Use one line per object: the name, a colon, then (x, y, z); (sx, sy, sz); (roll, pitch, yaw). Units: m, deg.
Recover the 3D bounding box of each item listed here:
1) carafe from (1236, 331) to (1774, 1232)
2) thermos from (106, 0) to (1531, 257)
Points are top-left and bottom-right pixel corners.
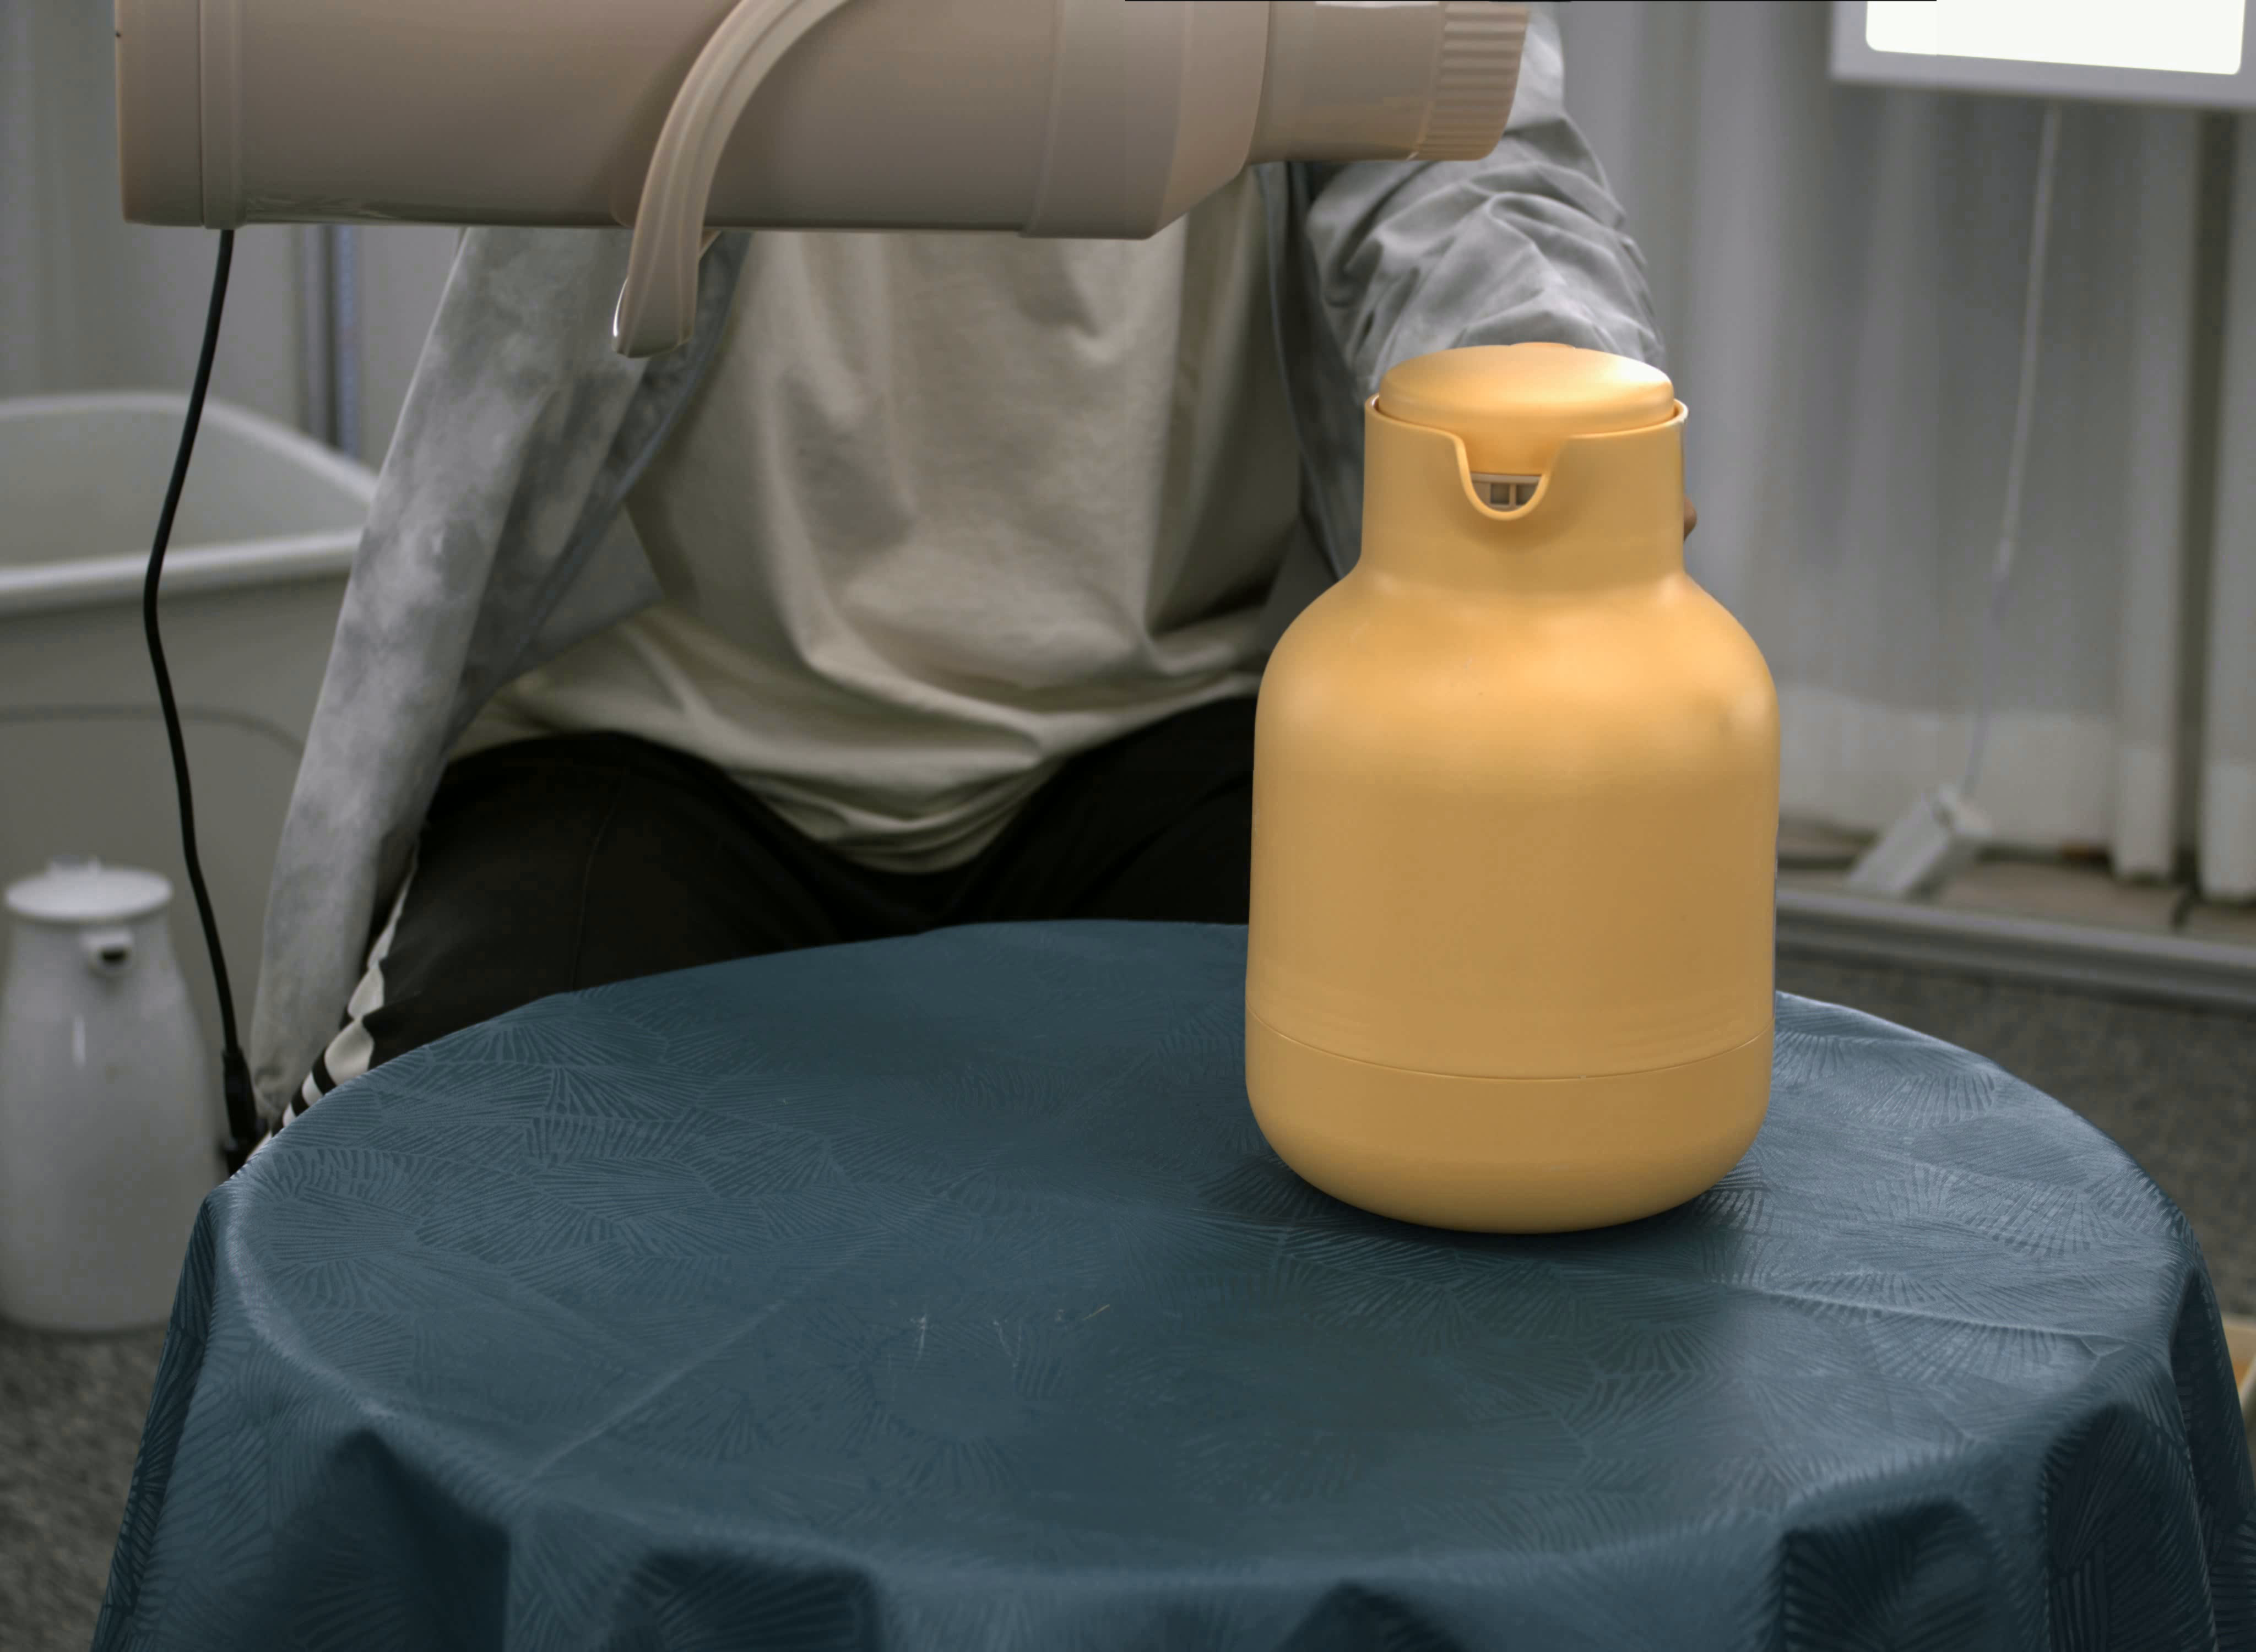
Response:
carafe: (0.121, -0.022, 1.623); (0.162, 0.262, 0.202); (5, 18, 9)
thermos: (-0.091, -0.266, 1.523); (0.406, 0.207, 0.175); (0, -11, -8)
